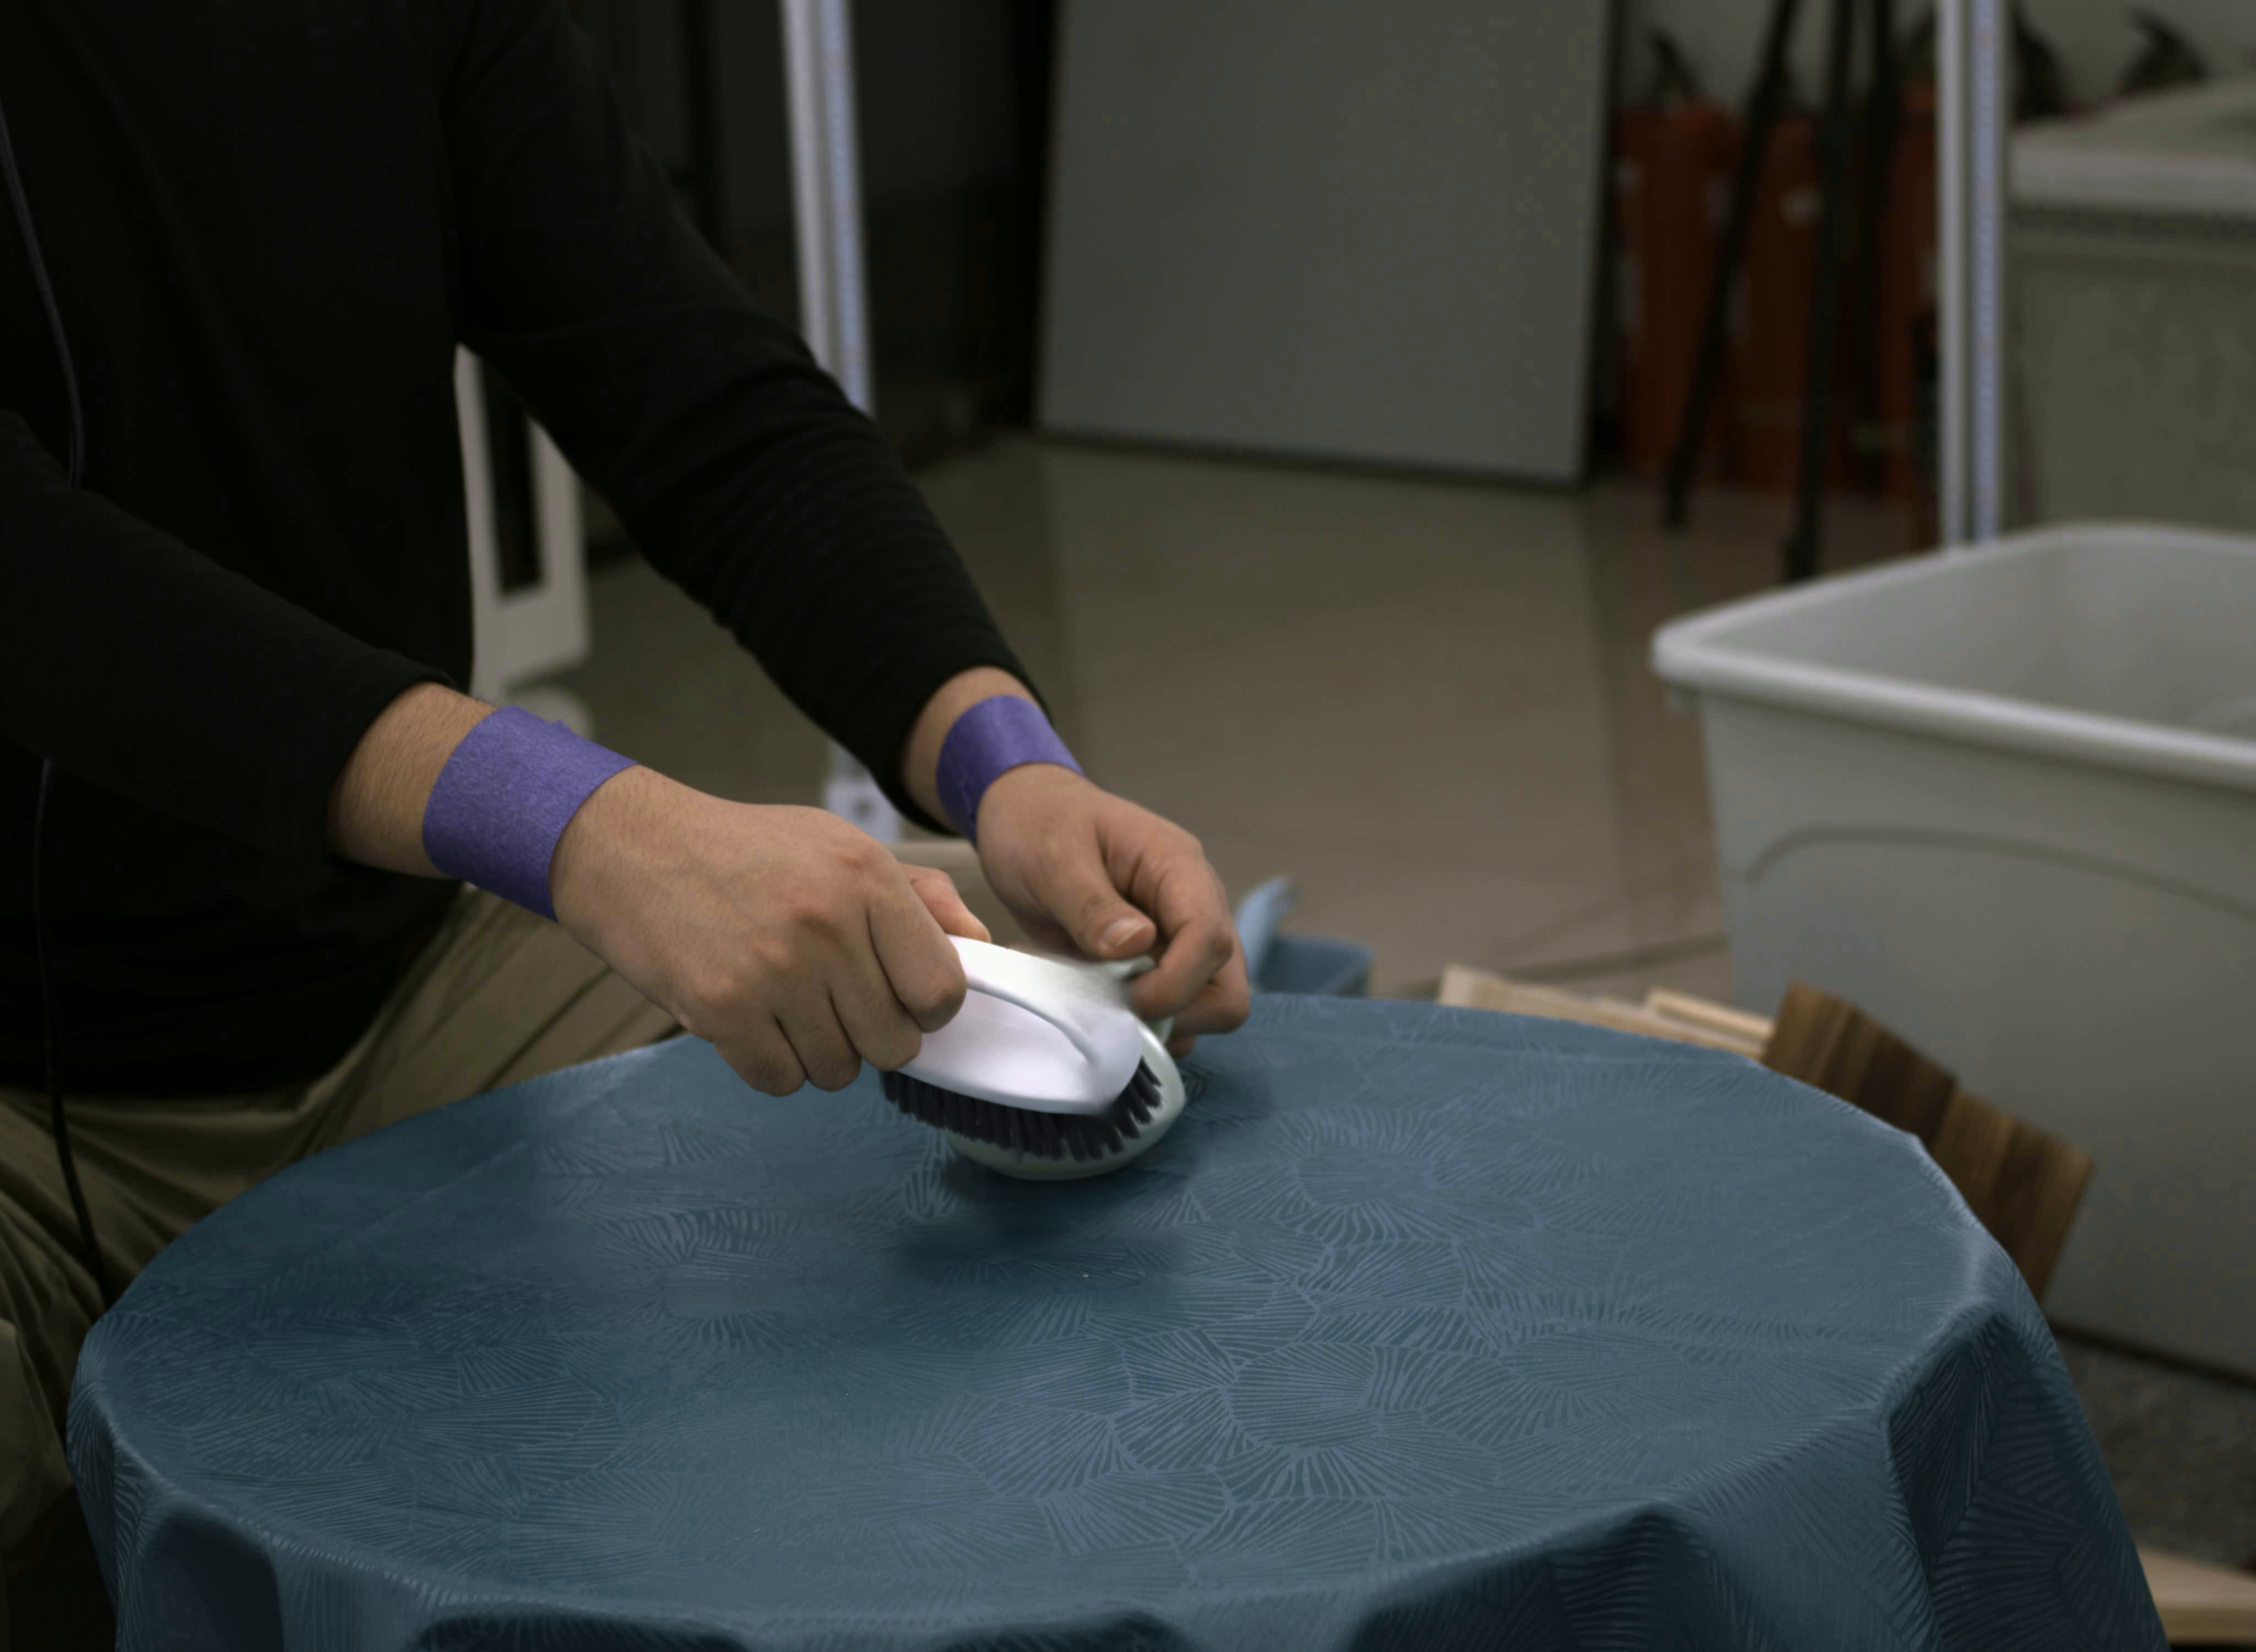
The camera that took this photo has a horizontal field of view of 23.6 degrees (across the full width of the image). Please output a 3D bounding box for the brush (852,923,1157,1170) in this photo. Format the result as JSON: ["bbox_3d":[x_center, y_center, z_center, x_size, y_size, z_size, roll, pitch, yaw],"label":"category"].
[{"bbox_3d":[-0.043,0.062,1.717,0.099,0.072,0.050,17,58,27],"label":"brush"}]

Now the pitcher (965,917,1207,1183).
[{"bbox_3d":[-0.011,0.077,1.817,0.106,0.060,0.087,-35,19,-35],"label":"pitcher"}]
